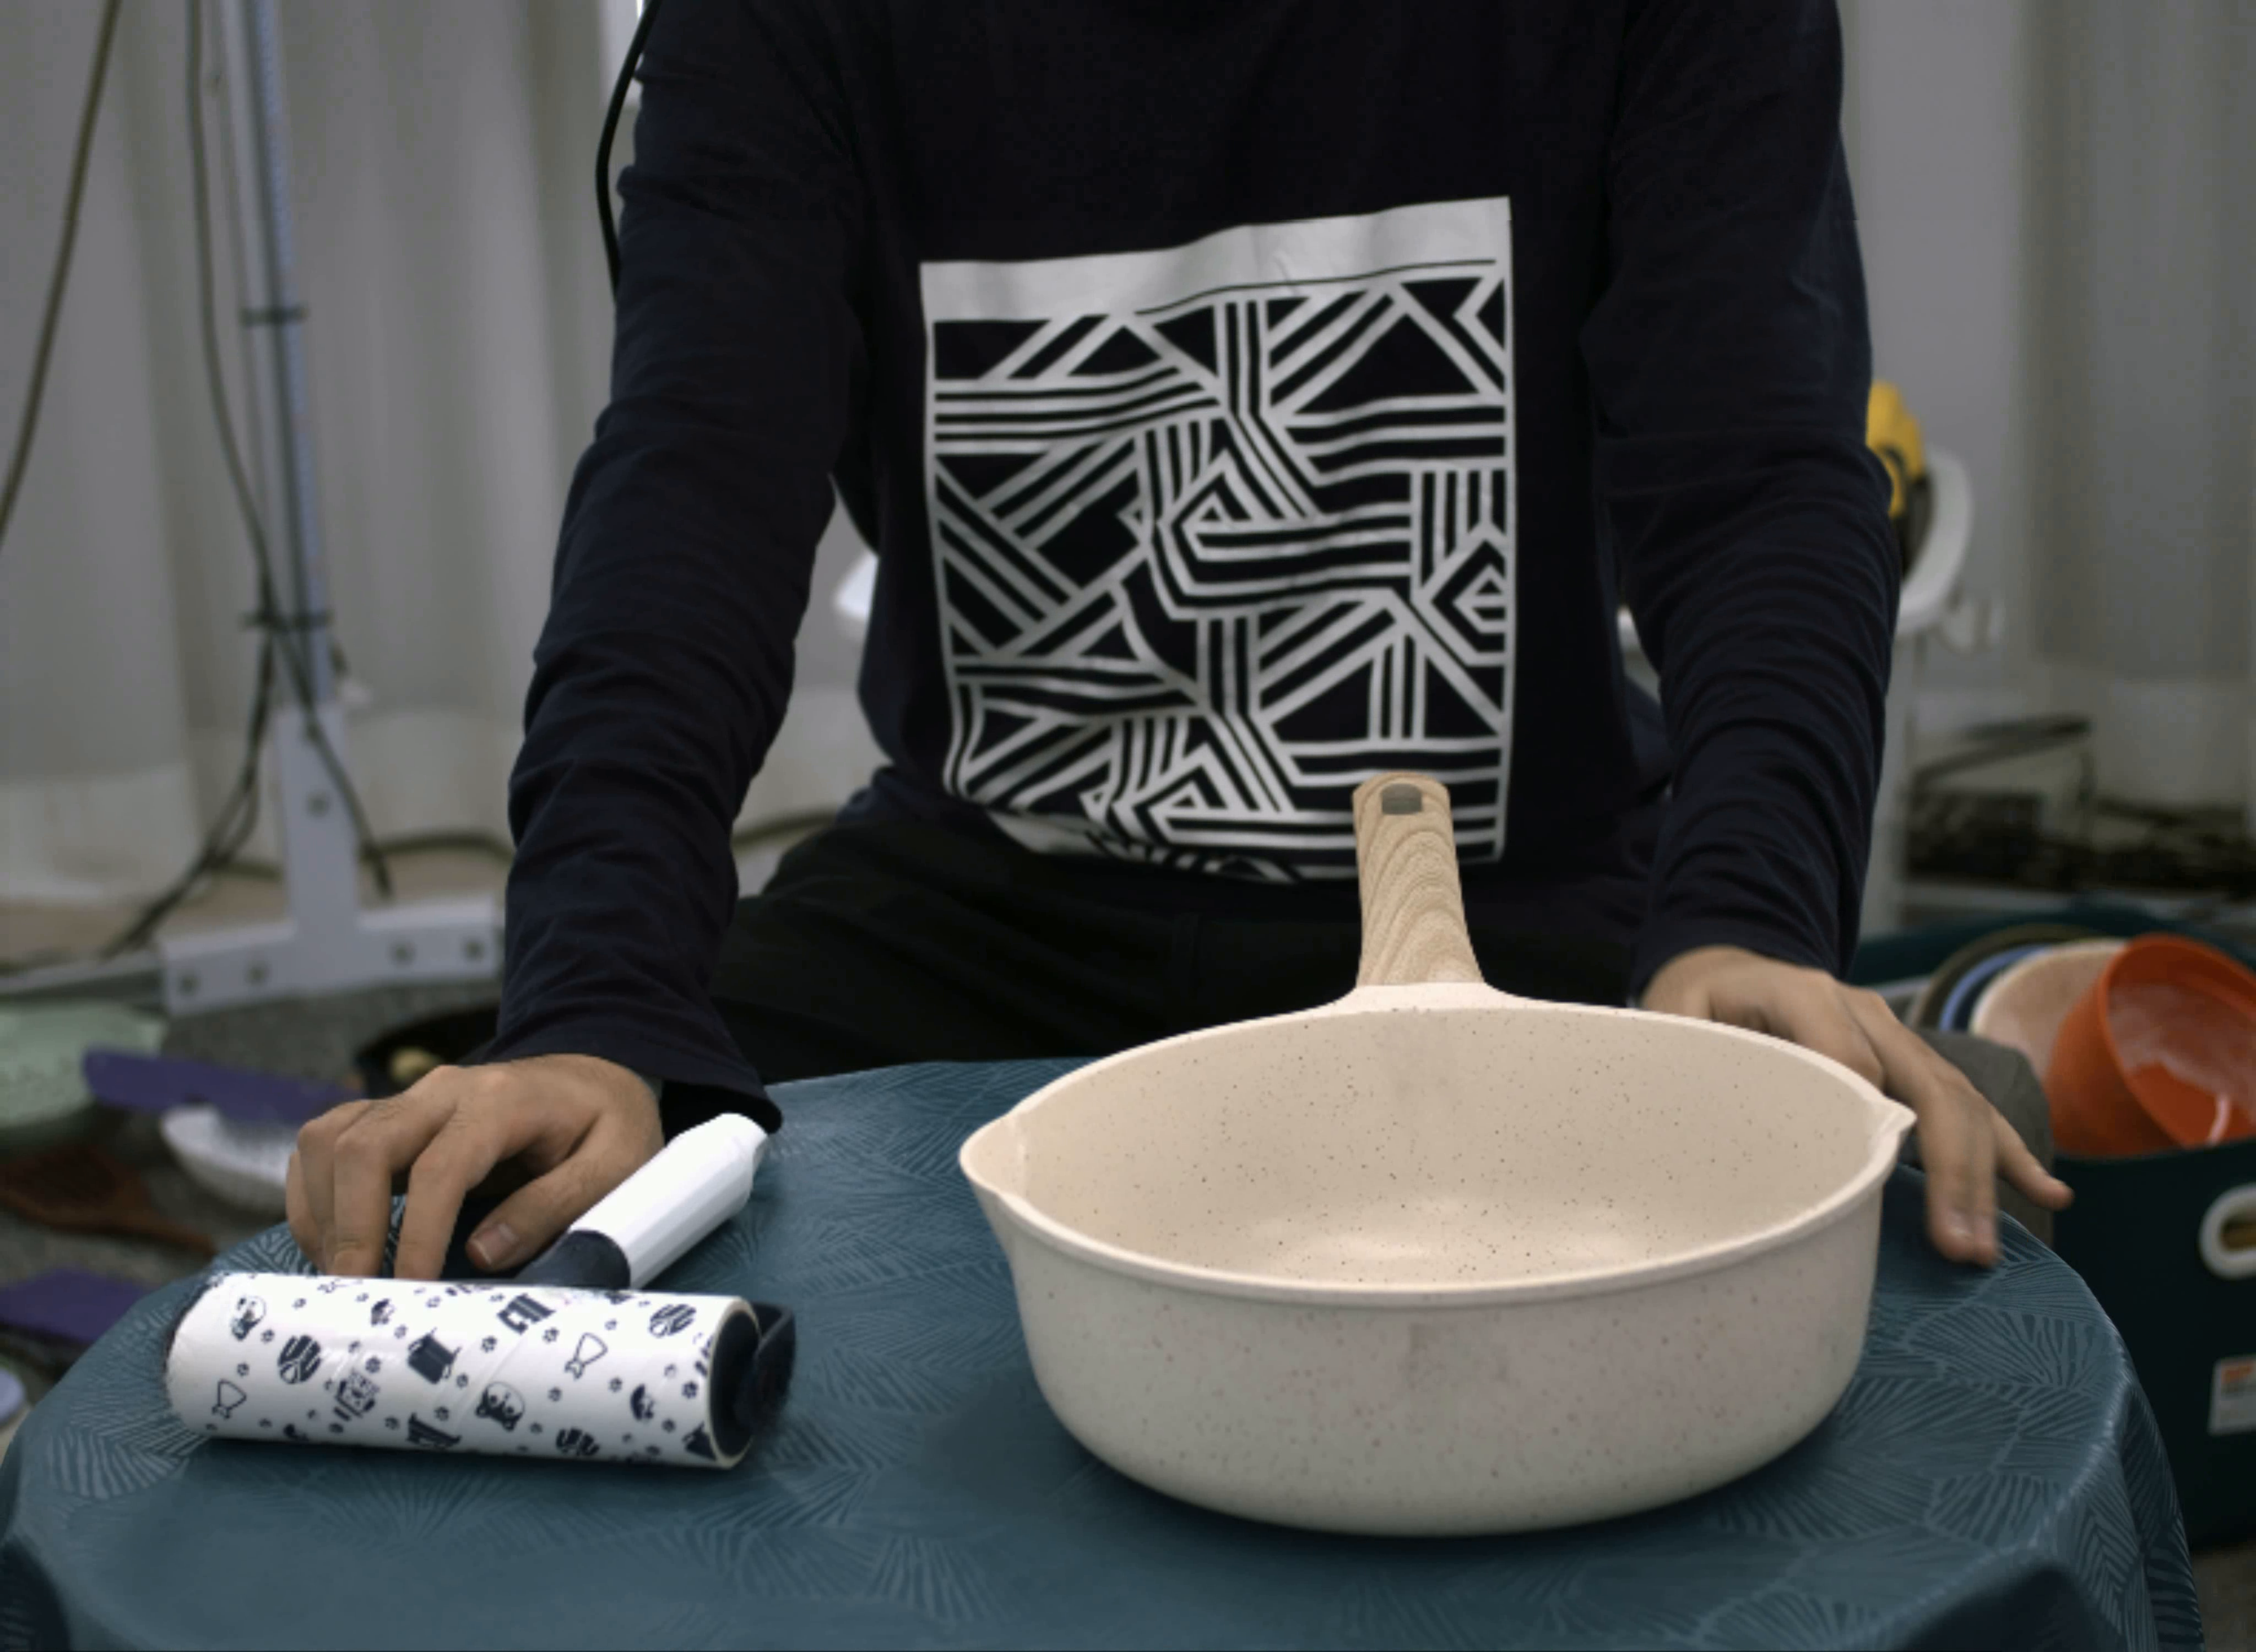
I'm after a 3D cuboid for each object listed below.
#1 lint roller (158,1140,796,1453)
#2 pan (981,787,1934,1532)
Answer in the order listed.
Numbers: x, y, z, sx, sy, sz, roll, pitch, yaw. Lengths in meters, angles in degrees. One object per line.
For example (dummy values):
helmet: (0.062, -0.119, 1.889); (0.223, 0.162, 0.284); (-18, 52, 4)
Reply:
lint roller: (-0.158, 0.128, 1.619); (0.176, 0.050, 0.248); (0, 13, 15)
pan: (0.092, 0.091, 1.596); (0.262, 0.101, 0.438); (-4, 15, 1)
